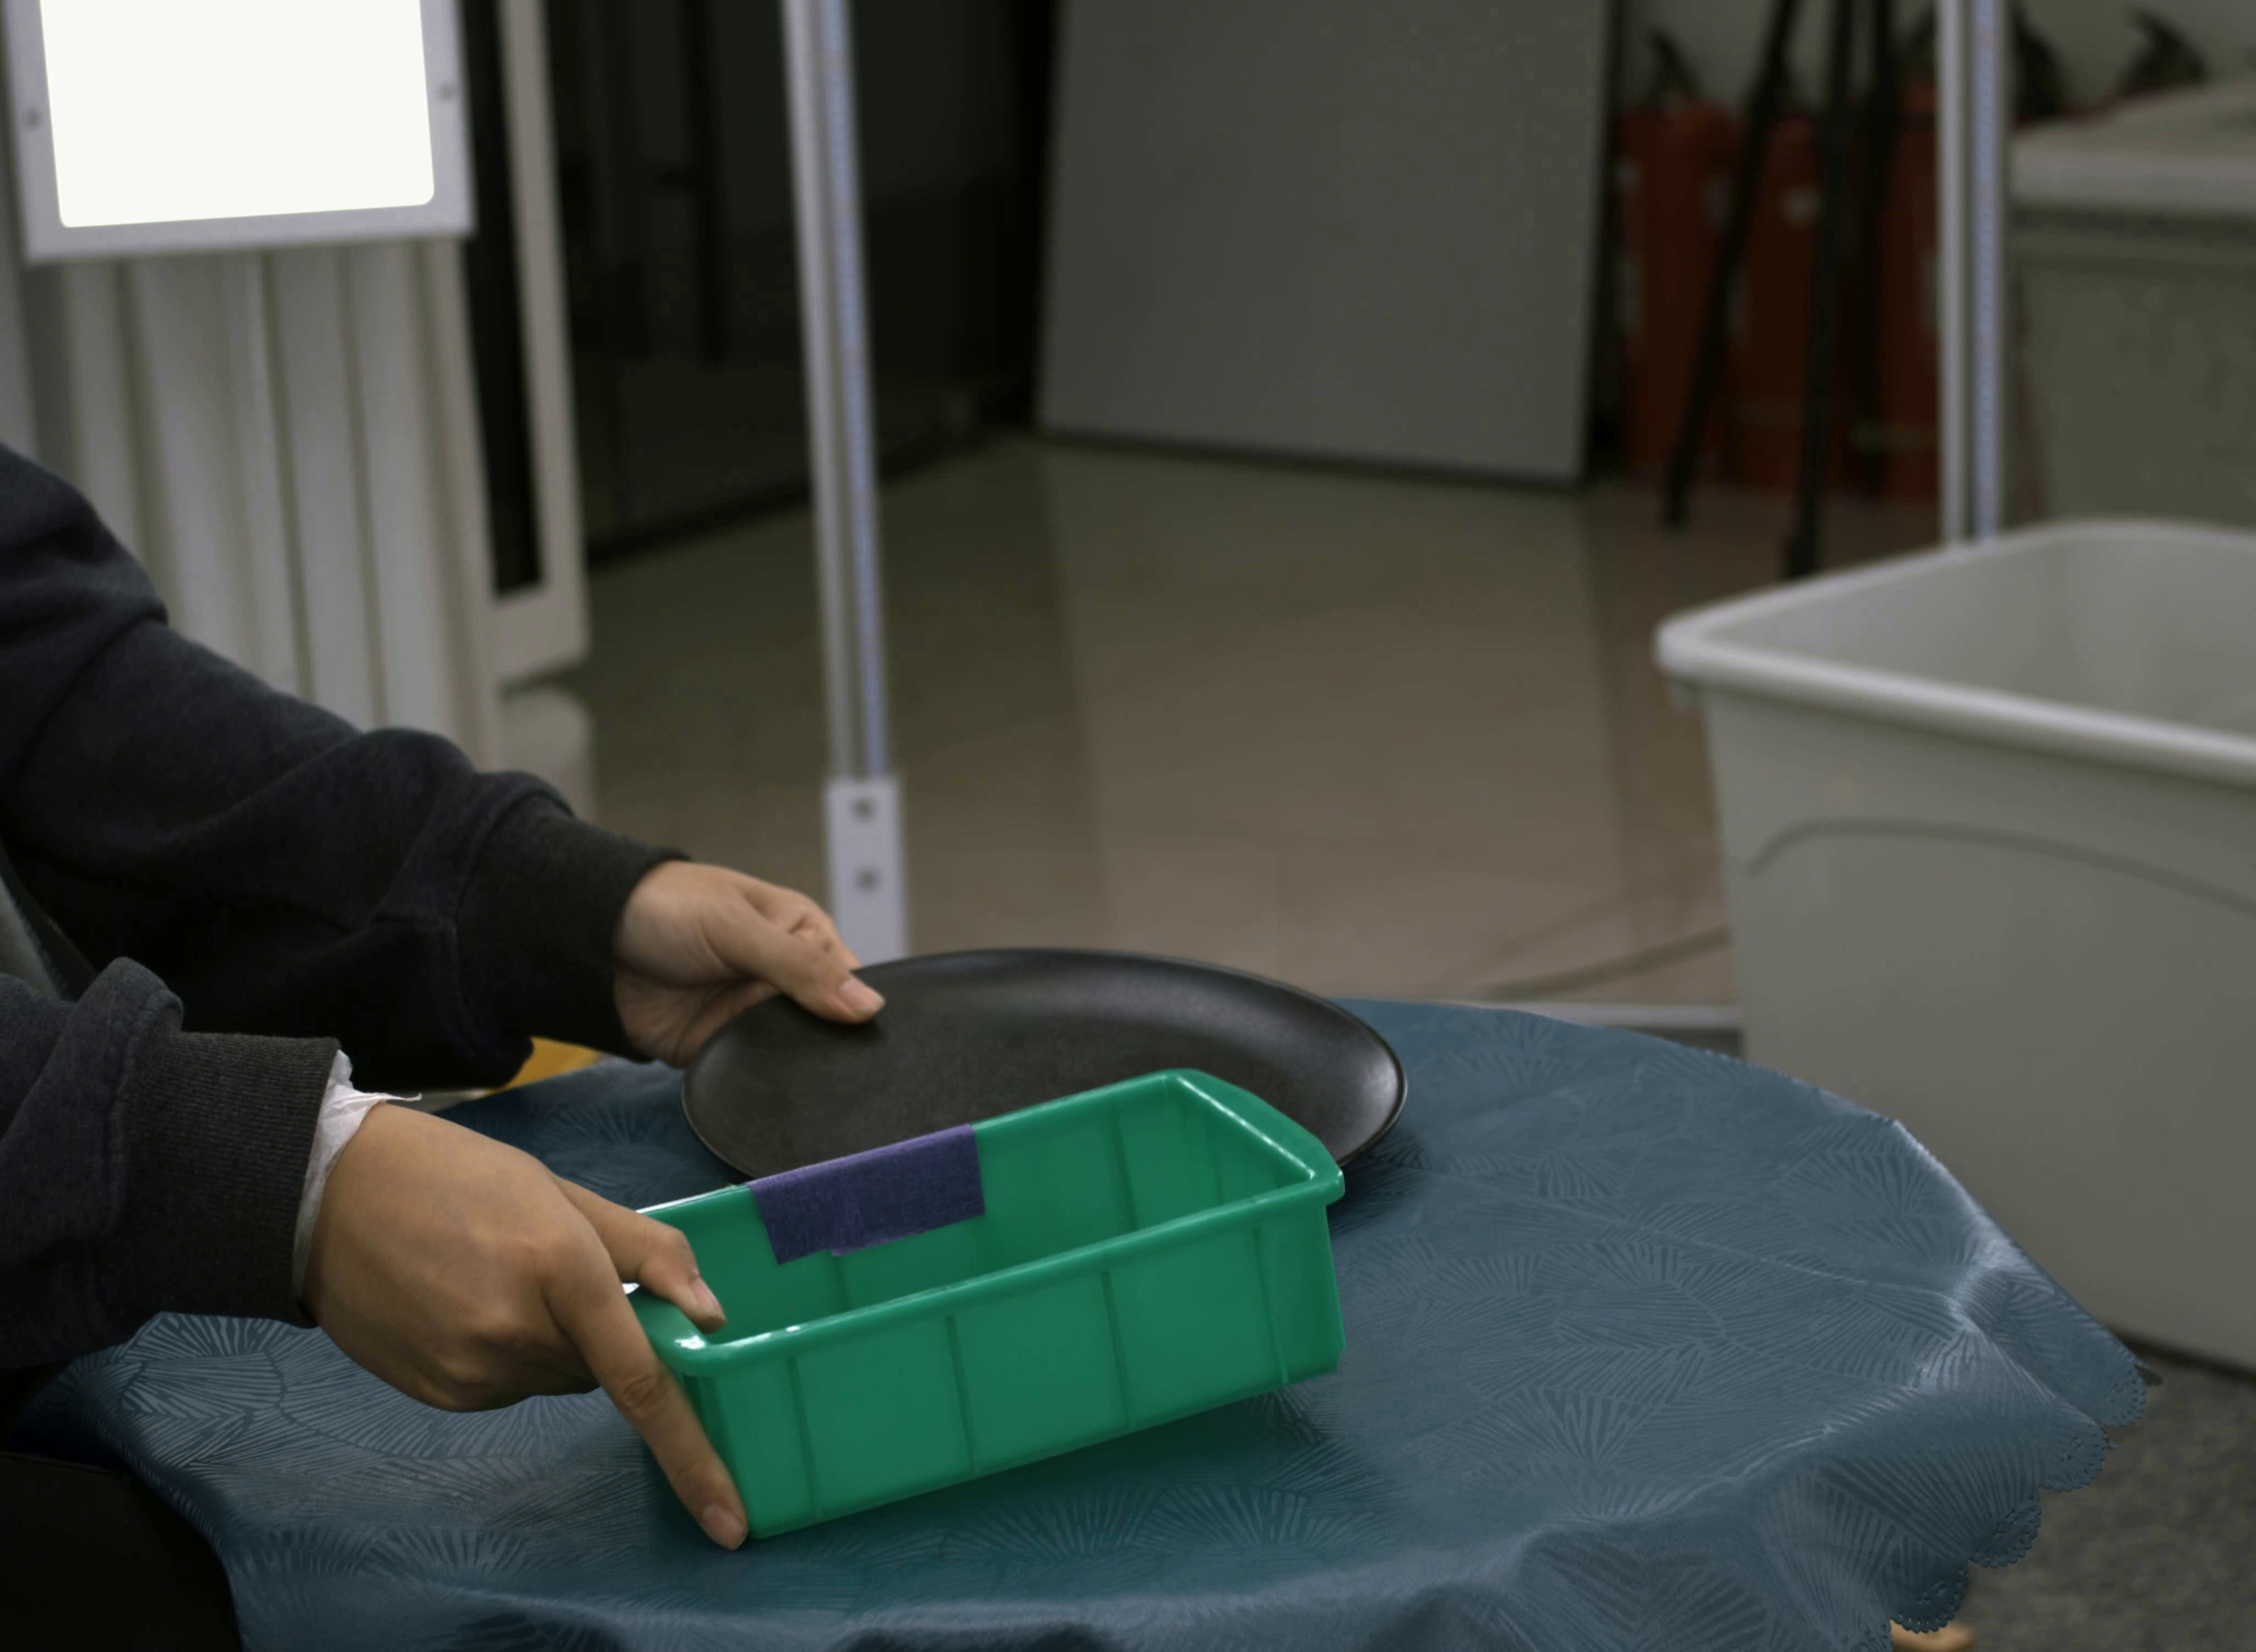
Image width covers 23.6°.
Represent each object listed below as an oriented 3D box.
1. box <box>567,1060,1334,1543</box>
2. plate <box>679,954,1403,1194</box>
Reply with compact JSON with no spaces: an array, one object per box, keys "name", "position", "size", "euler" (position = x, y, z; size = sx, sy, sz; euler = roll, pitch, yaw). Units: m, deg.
[{"name":"box","position":[-0.048,0.136,1.552],"size":[0.206,0.066,0.140],"euler":[-16,14,-16]},{"name":"plate","position":[-0.028,0.095,1.795],"size":[0.241,0.023,0.245],"euler":[-1,20,0]}]
